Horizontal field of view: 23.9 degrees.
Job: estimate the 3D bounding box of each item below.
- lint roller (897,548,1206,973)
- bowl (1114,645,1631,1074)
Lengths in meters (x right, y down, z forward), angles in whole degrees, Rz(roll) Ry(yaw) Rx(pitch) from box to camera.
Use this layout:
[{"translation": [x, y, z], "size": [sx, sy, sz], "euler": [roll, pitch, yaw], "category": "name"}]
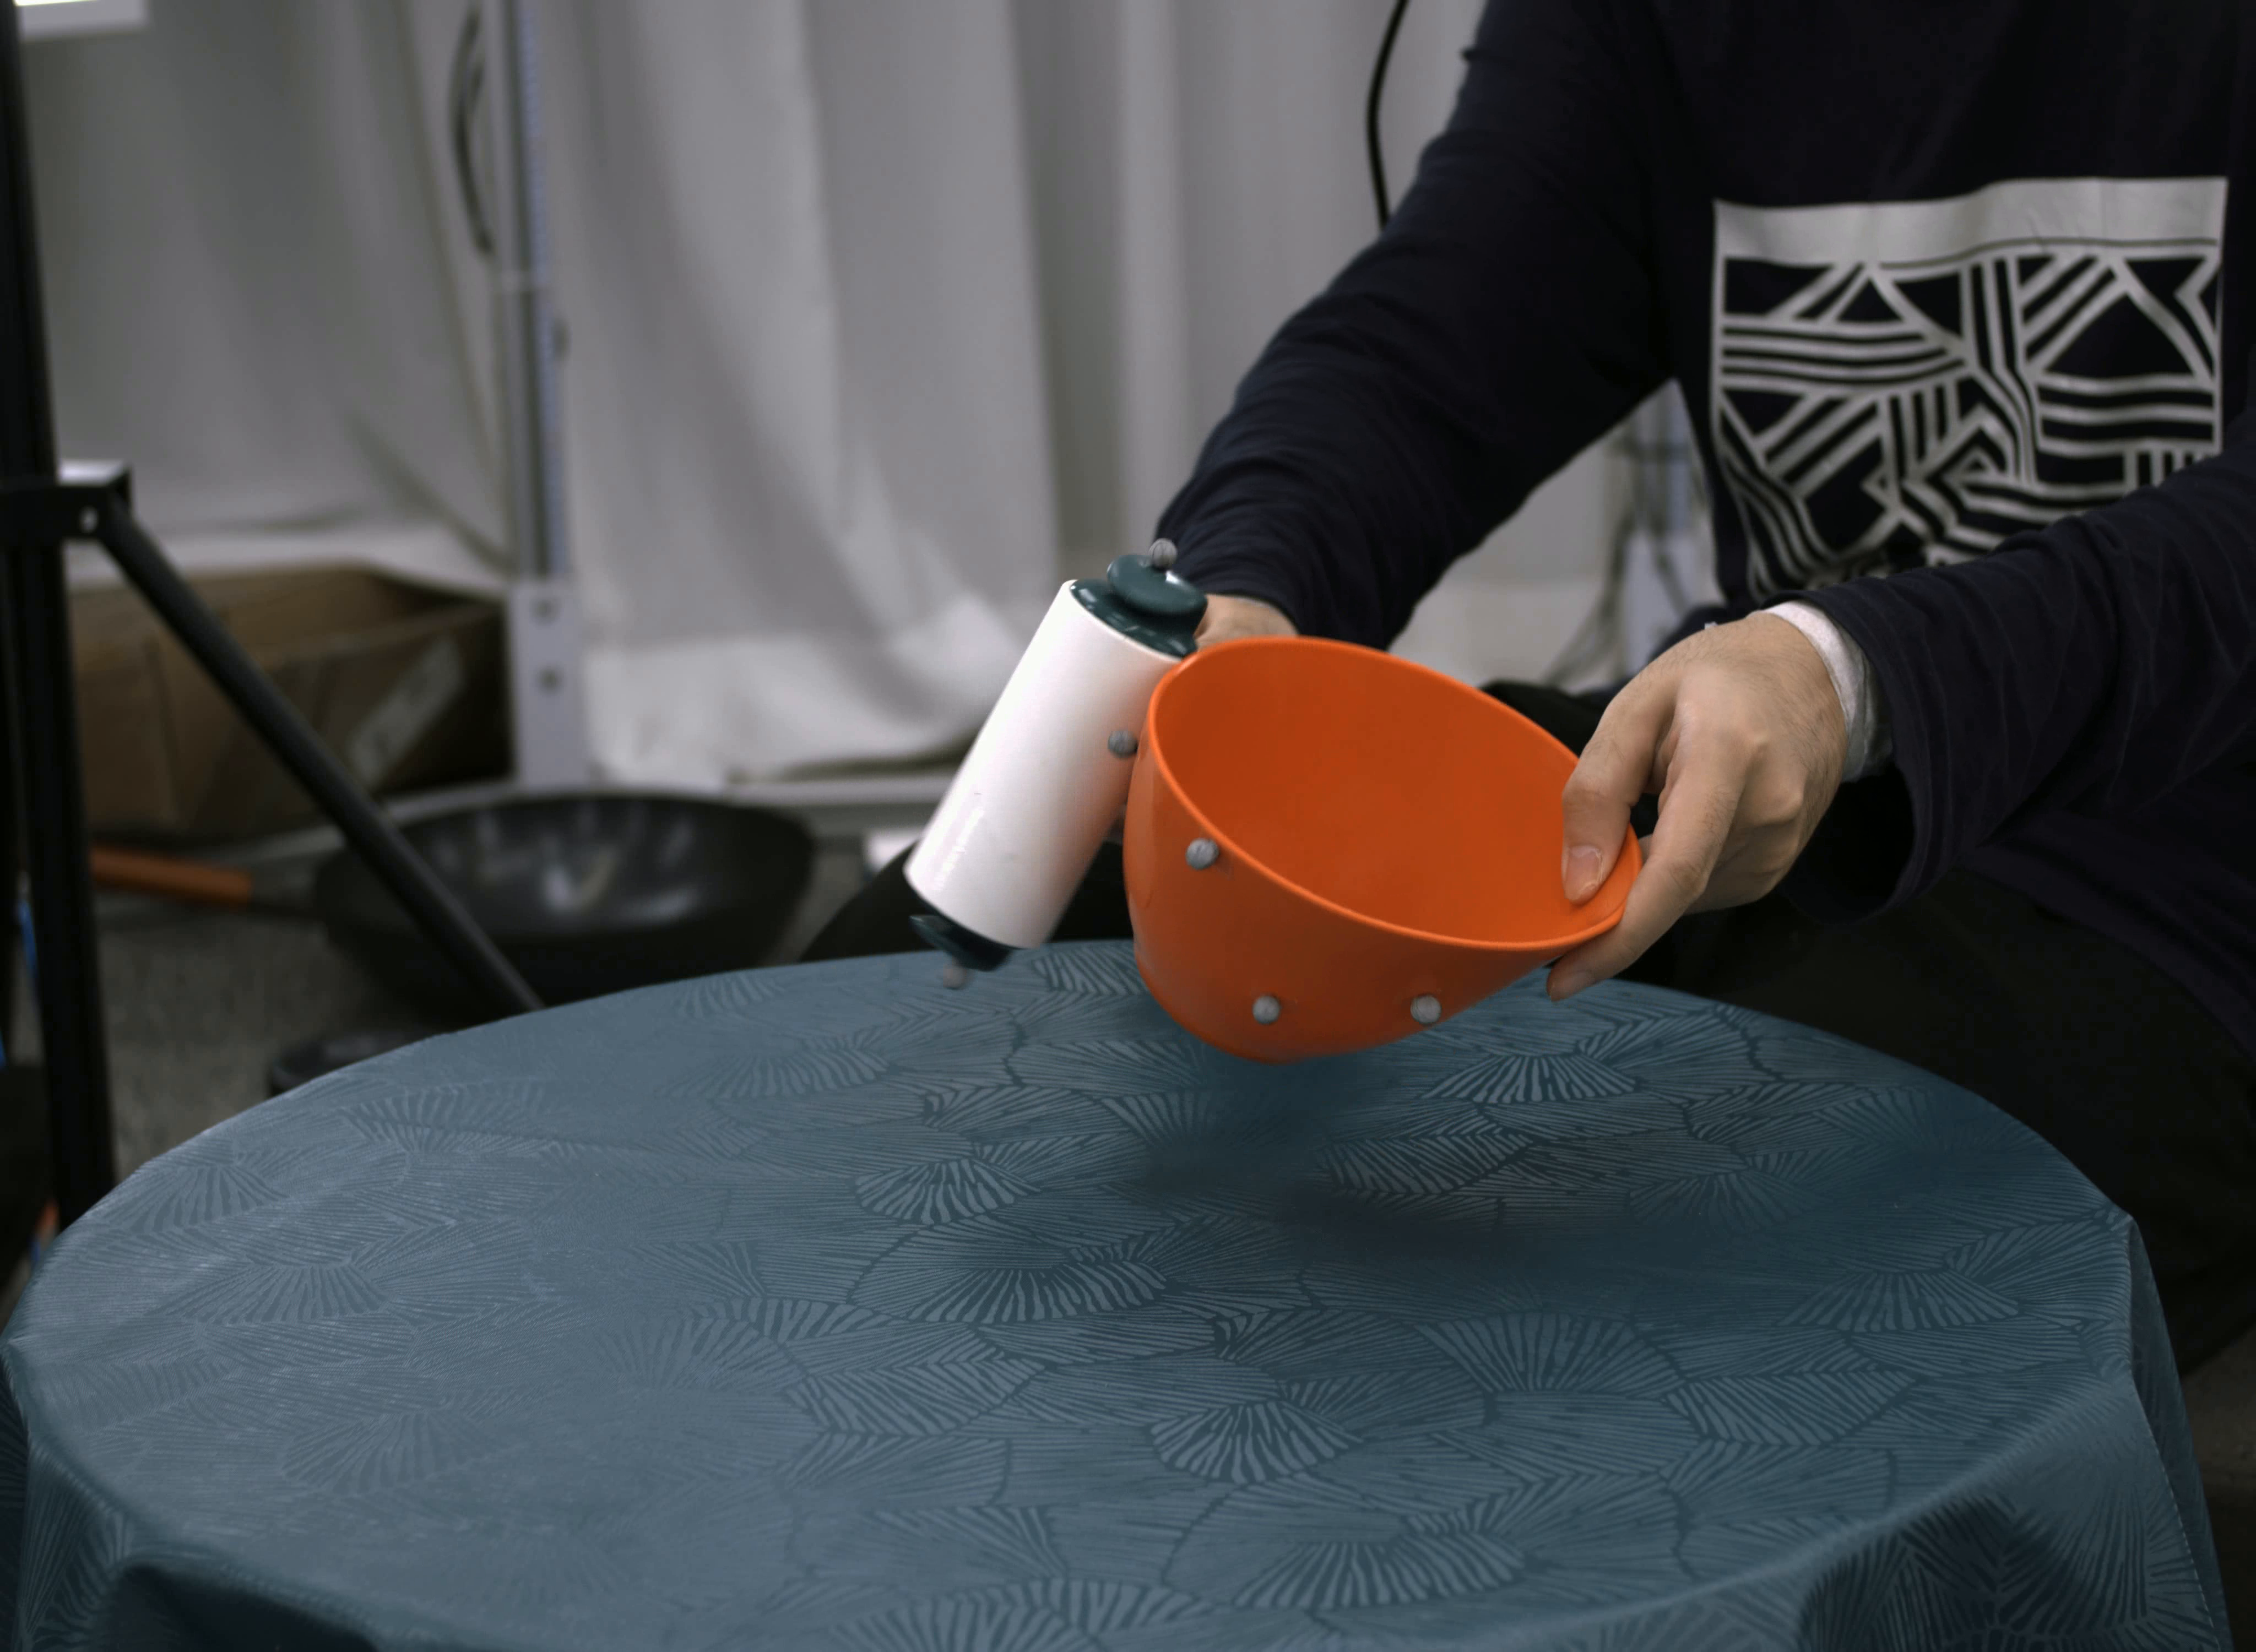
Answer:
[{"translation": [-0.002, -0.025, 1.616], "size": [0.049, 0.135, 0.177], "euler": [34, 16, 11], "category": "lint roller"}, {"translation": [0.056, 0.021, 1.523], "size": [0.145, 0.105, 0.149], "euler": [19, 36, -16], "category": "bowl"}]
